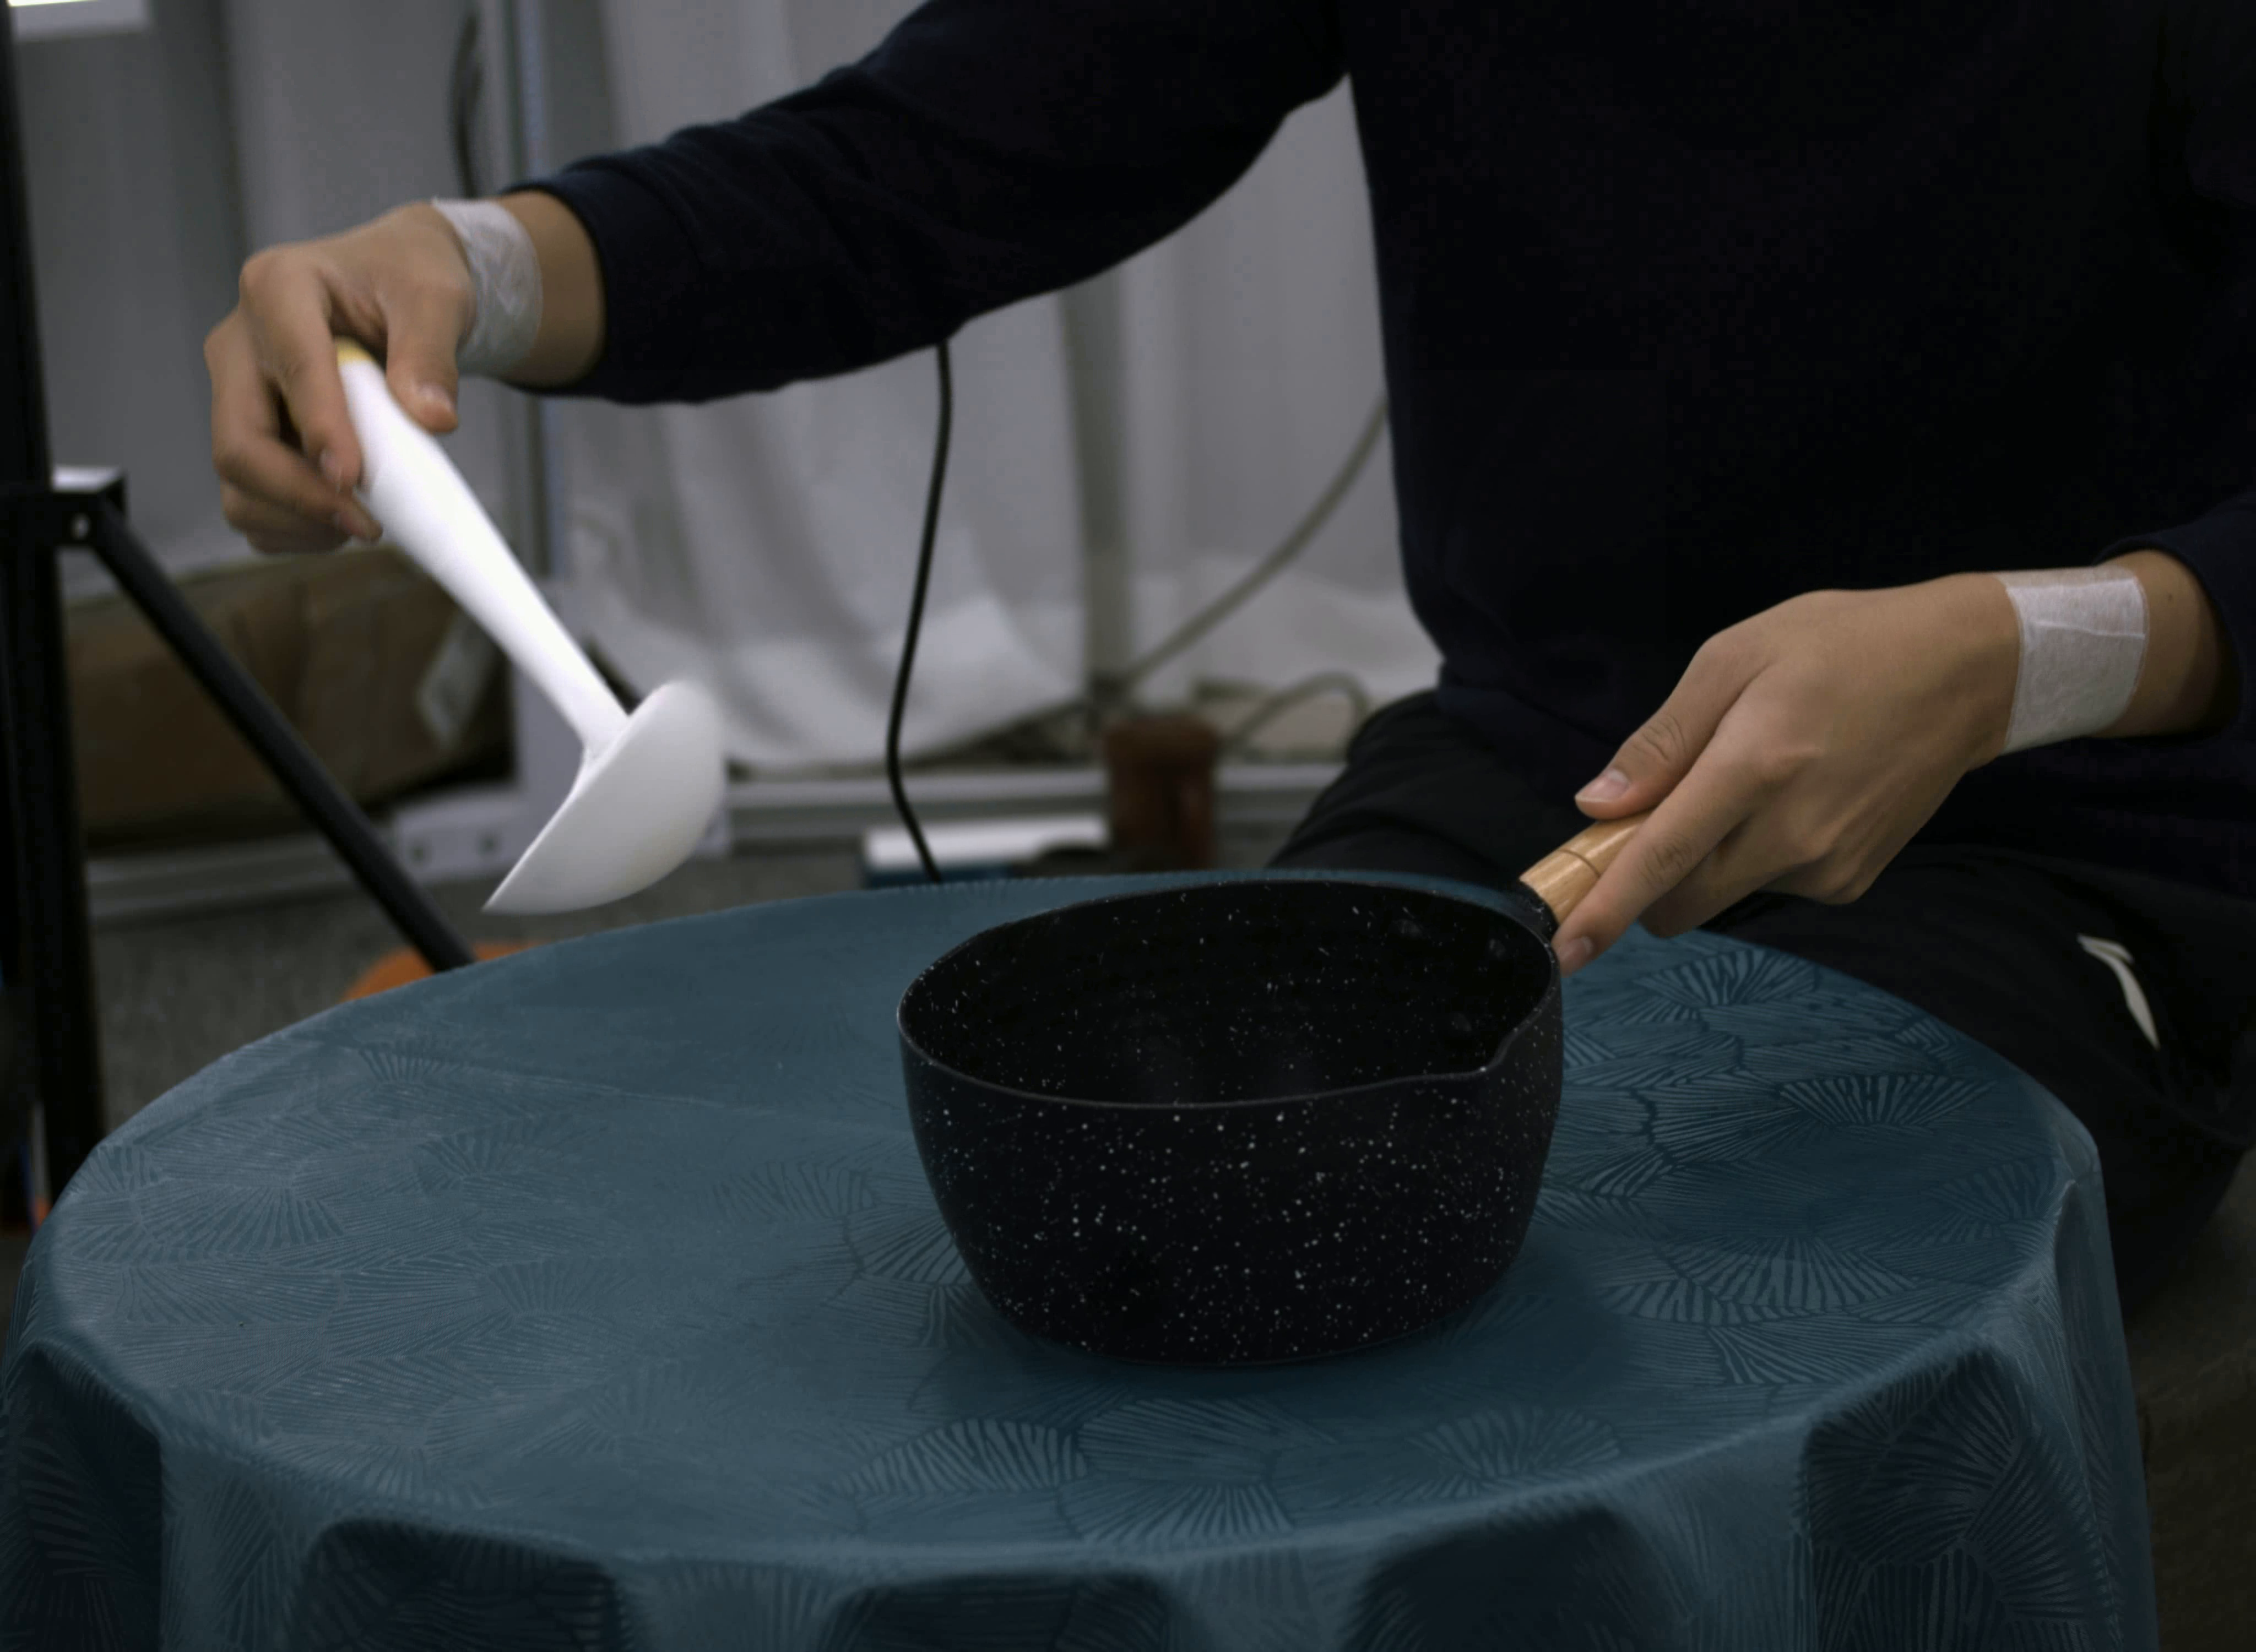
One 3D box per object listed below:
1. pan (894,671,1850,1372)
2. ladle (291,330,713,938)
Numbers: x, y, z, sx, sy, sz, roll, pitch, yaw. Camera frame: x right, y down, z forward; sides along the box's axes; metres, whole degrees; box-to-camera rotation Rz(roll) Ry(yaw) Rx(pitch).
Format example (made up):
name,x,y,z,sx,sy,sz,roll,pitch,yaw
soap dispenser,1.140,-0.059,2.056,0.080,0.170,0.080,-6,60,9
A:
name,x,y,z,sx,sy,sz,roll,pitch,yaw
pan,0.088,0.051,1.516,0.335,0.108,0.212,-21,23,-37
ladle,-0.190,-0.066,1.515,0.068,0.090,0.299,23,19,-39
